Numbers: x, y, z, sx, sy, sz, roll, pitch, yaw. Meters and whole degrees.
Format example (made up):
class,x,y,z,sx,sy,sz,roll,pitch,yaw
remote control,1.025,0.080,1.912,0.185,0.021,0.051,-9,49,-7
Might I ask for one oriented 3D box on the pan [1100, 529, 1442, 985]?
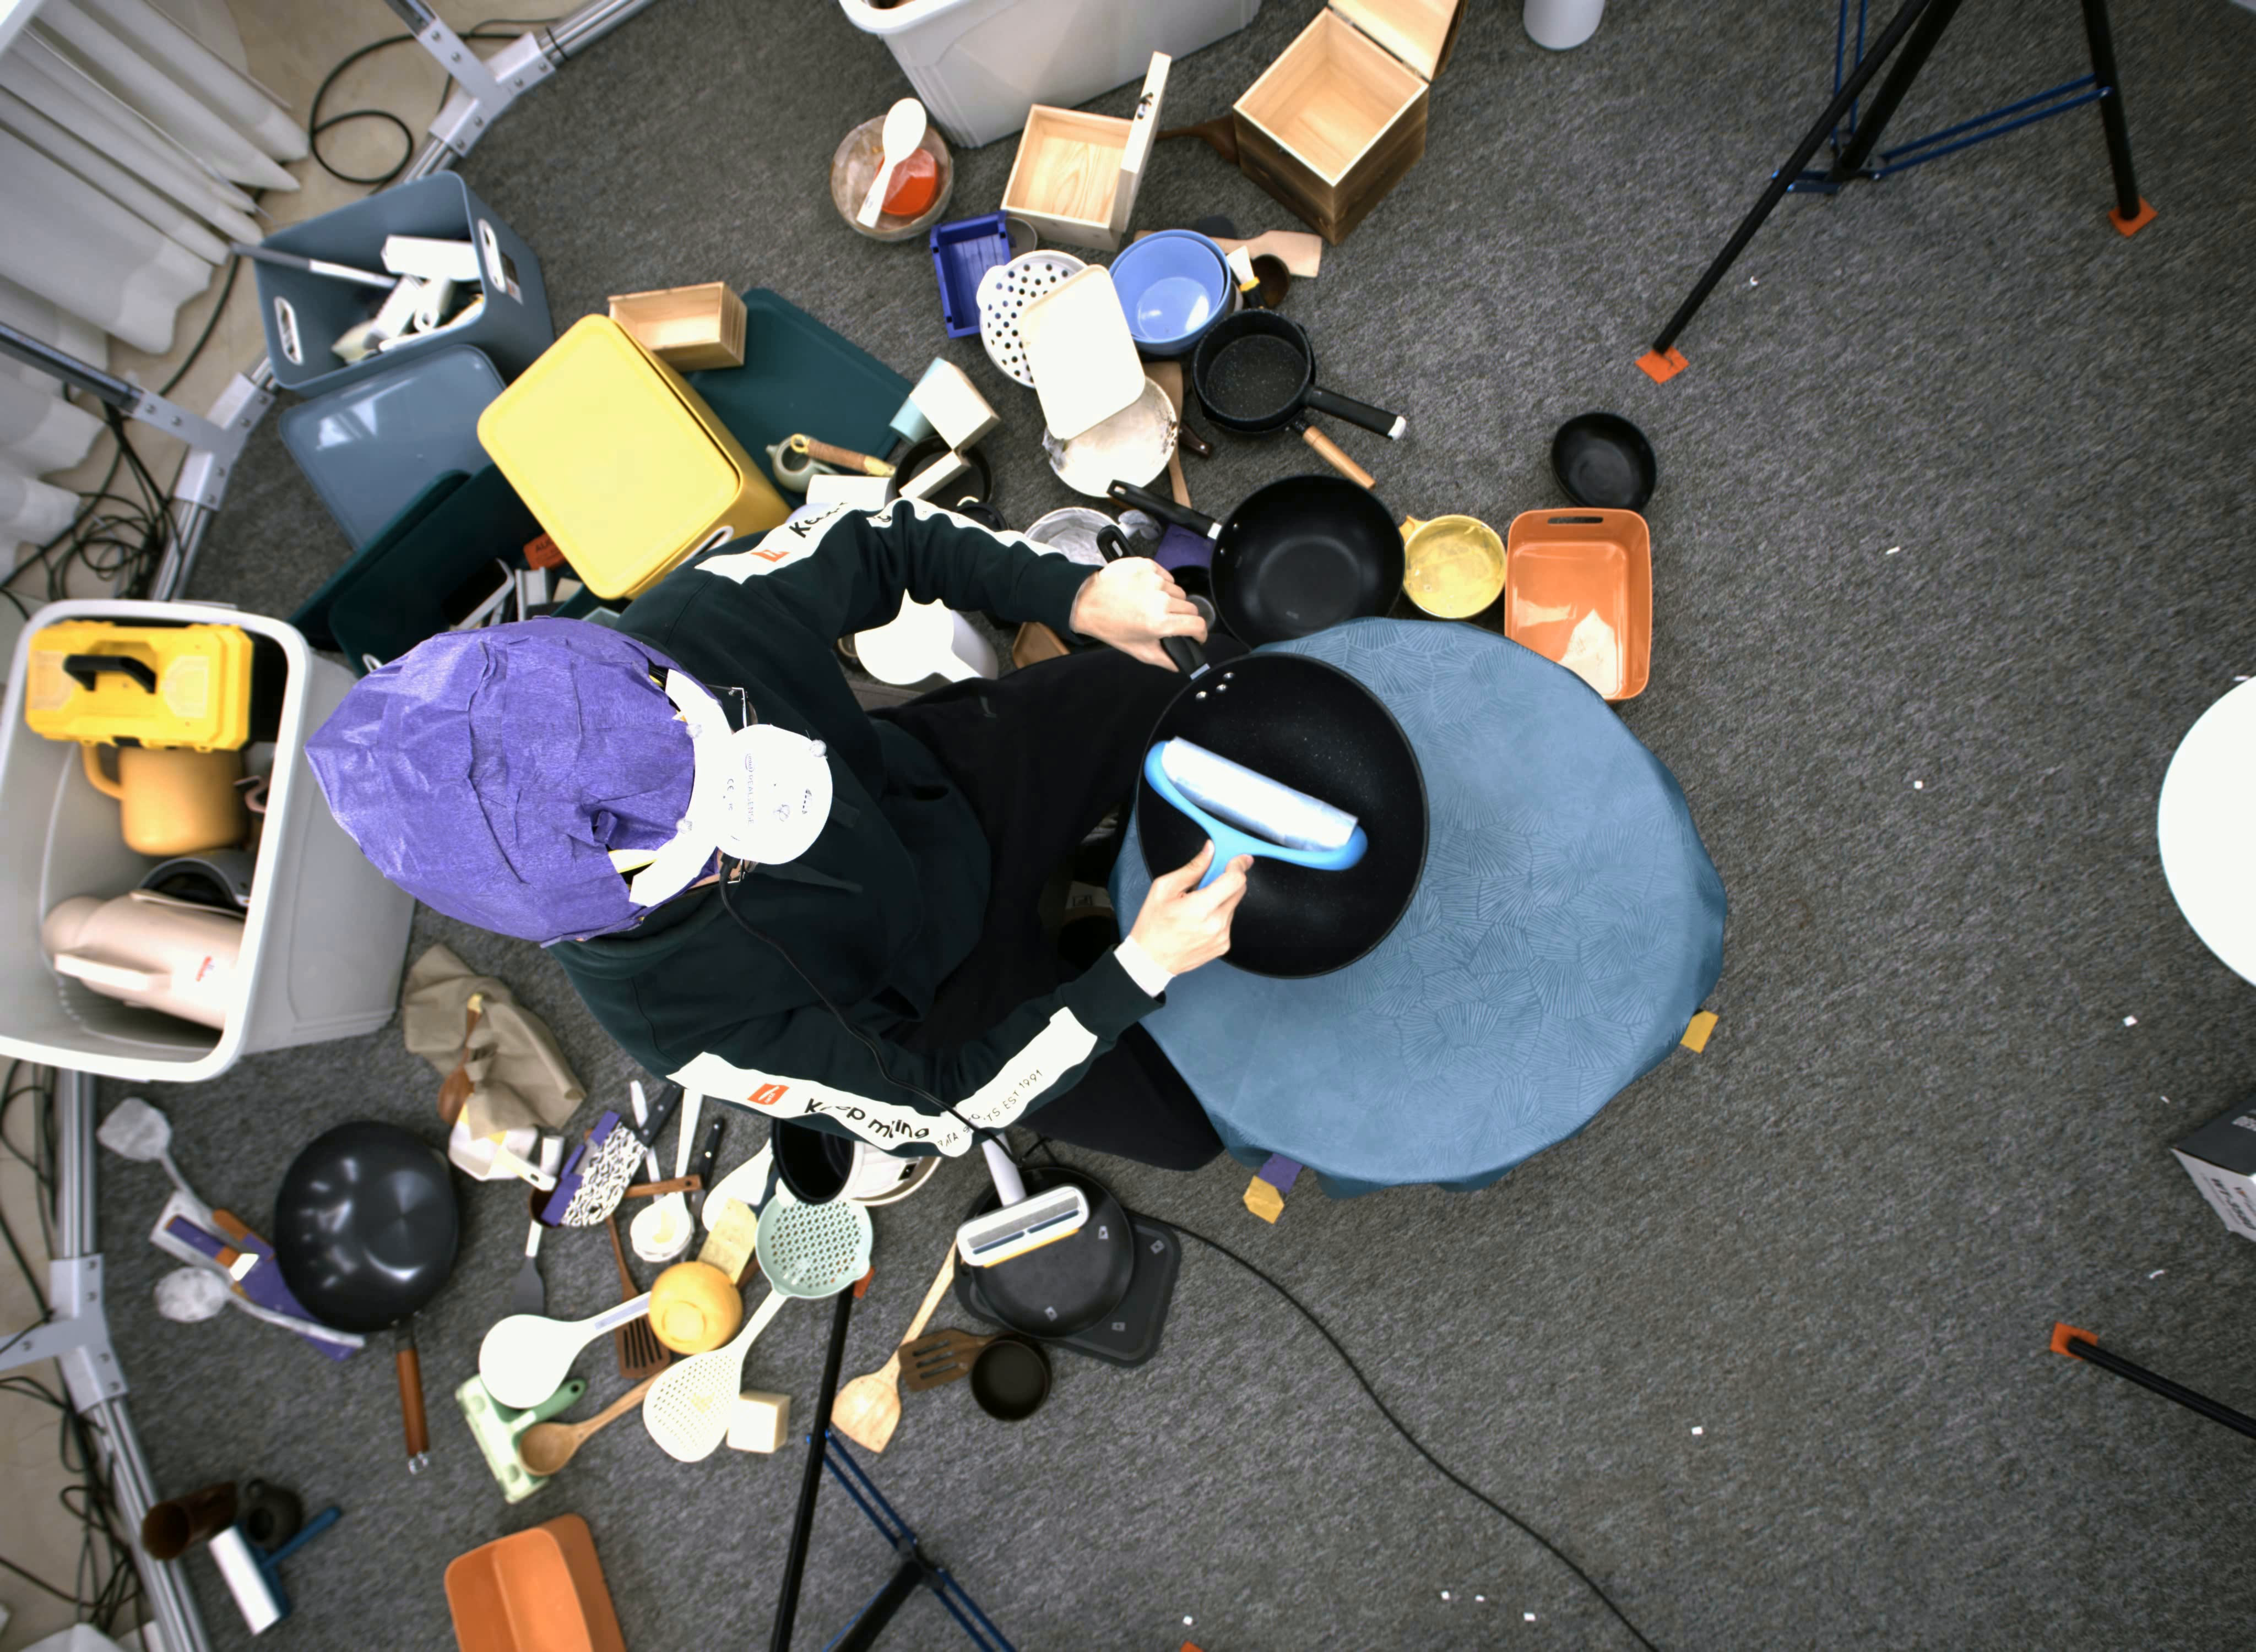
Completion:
class,x,y,z,sx,sy,sz,roll,pitch,yaw
pan,0.118,-0.080,1.321,0.316,0.110,0.474,-34,81,33

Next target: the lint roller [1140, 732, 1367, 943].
class,x,y,z,sx,sy,sz,roll,pitch,yaw
lint roller,0.098,0.022,1.305,0.229,0.069,0.178,21,75,5
